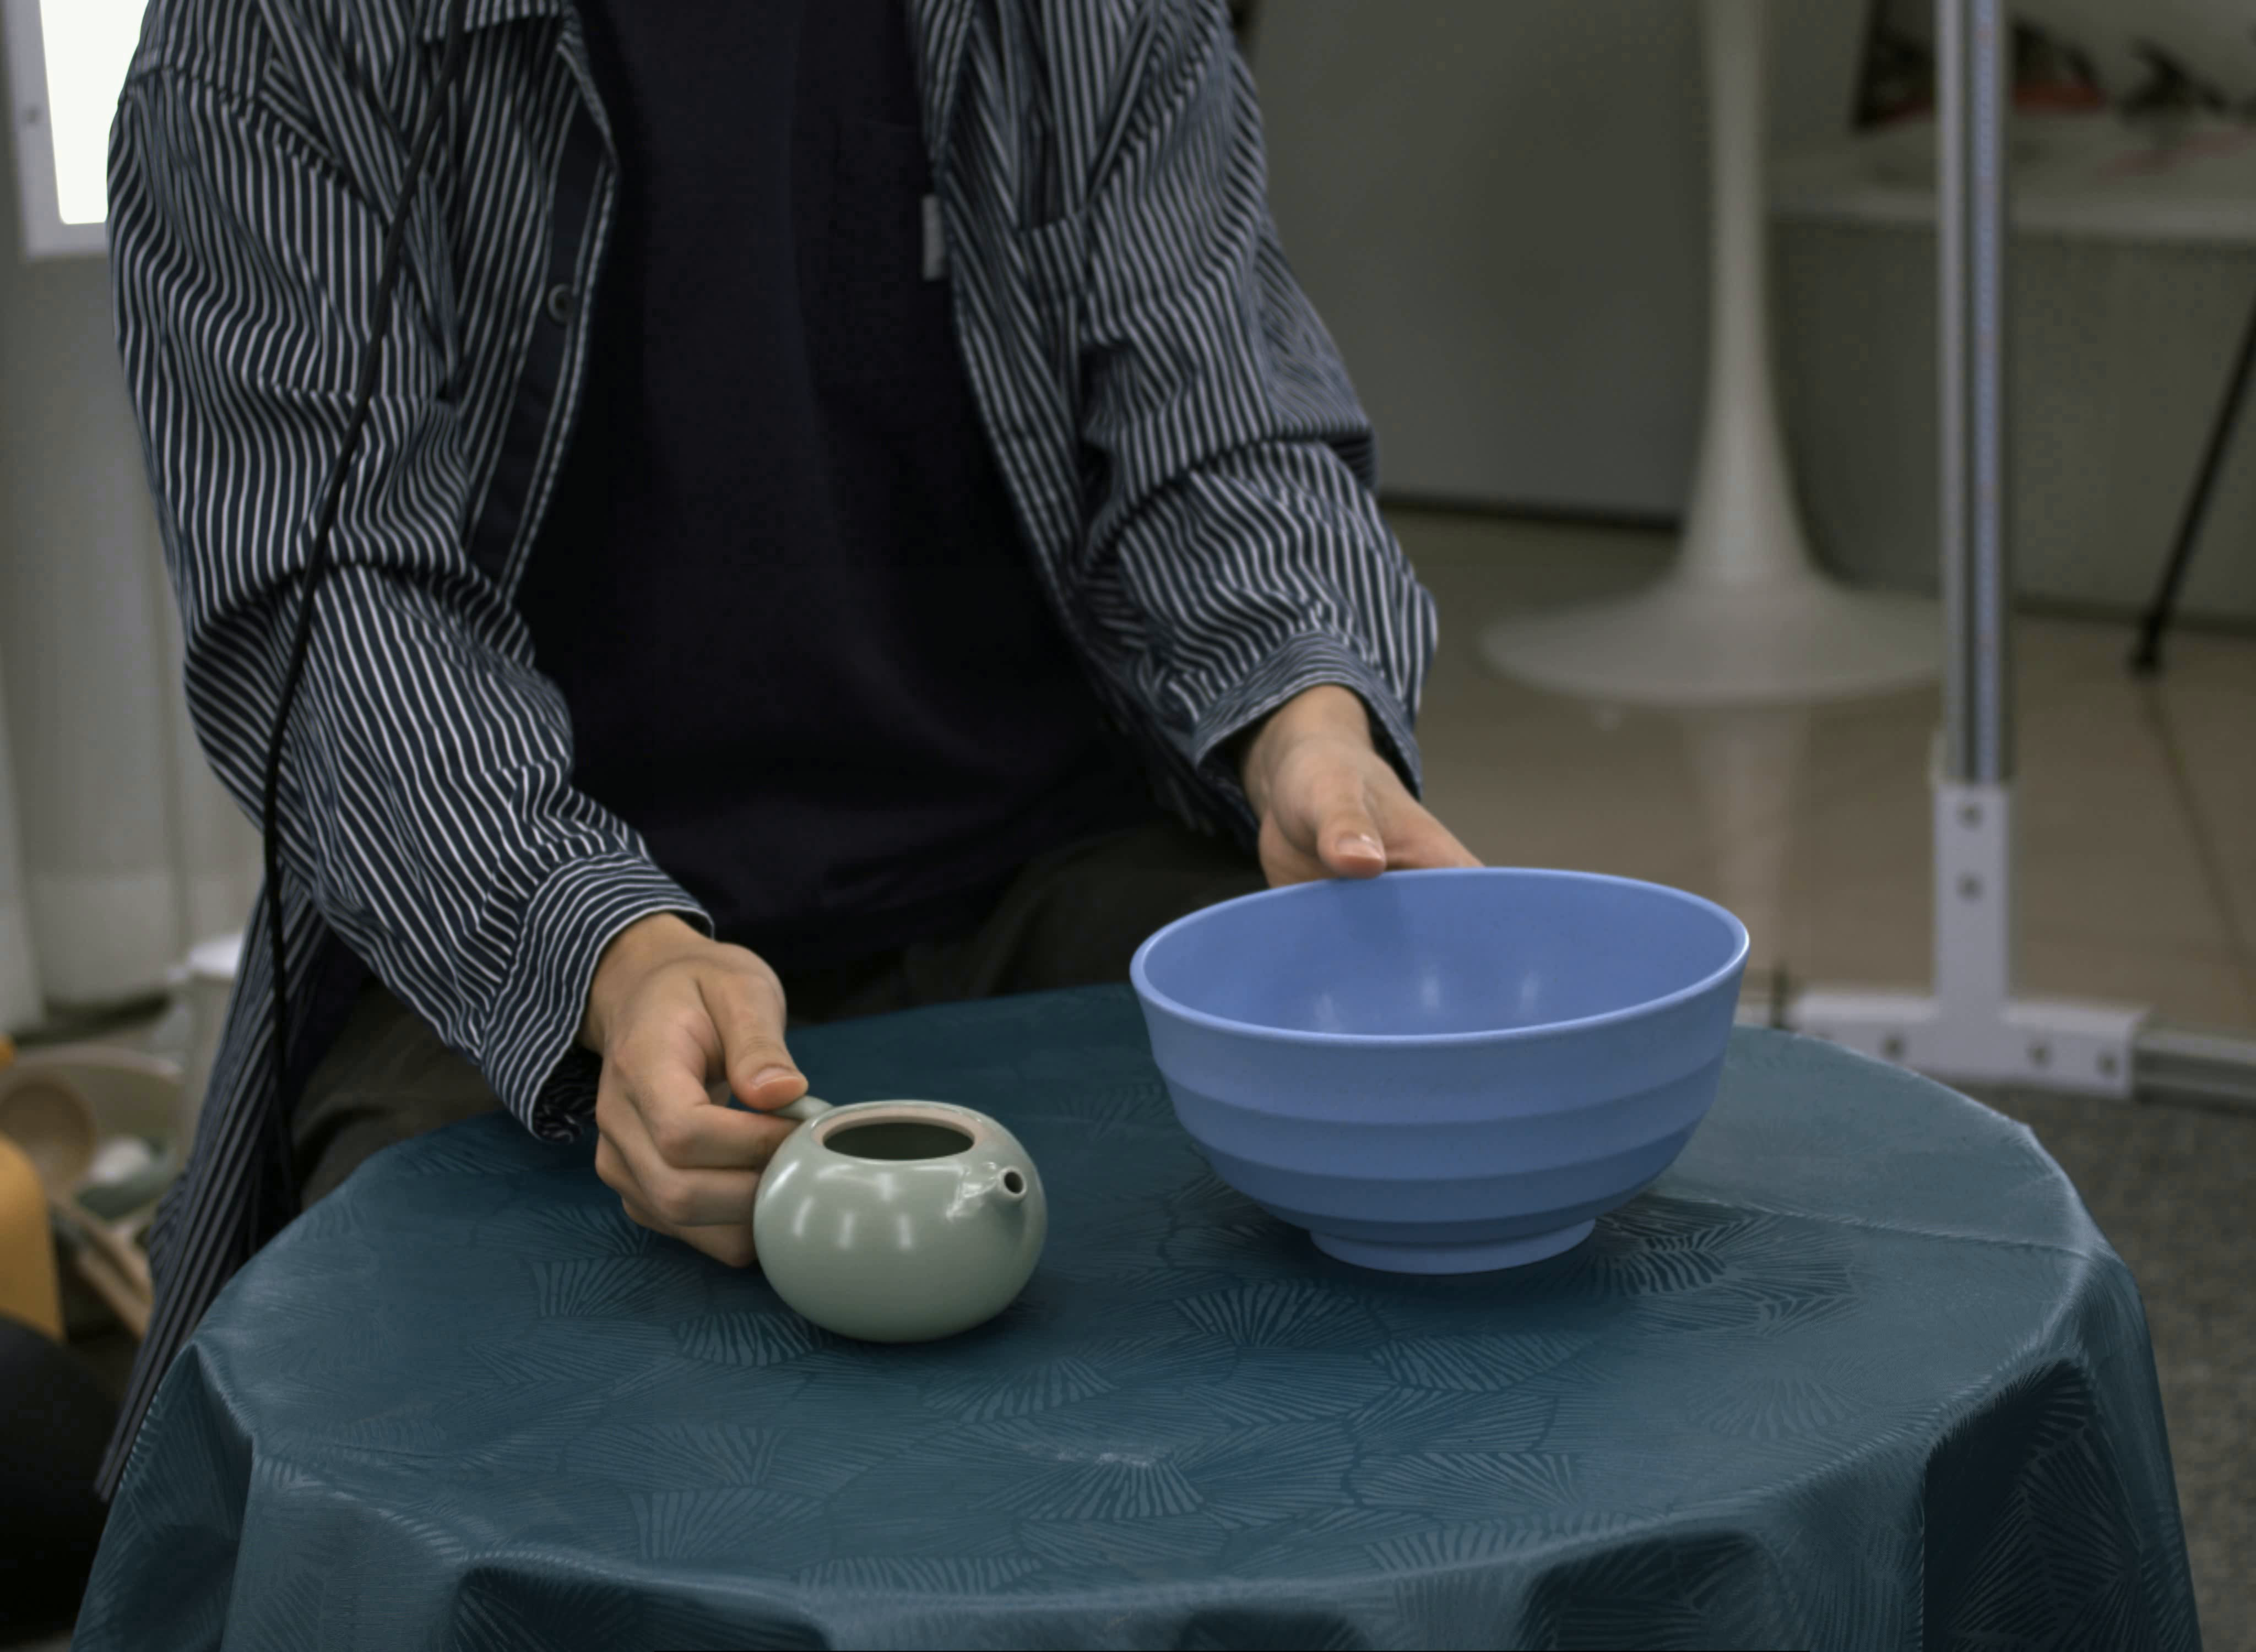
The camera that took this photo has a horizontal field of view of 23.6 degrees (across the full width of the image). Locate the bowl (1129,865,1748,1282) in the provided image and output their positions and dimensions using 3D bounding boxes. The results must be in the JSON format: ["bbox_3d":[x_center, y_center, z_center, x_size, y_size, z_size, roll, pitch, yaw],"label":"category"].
[{"bbox_3d":[0.100,0.084,1.697,0.194,0.096,0.197,-5,14,0],"label":"bowl"}]

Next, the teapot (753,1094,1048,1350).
[{"bbox_3d":[-0.076,0.120,1.660,0.089,0.061,0.130,-14,20,-36],"label":"teapot"}]
